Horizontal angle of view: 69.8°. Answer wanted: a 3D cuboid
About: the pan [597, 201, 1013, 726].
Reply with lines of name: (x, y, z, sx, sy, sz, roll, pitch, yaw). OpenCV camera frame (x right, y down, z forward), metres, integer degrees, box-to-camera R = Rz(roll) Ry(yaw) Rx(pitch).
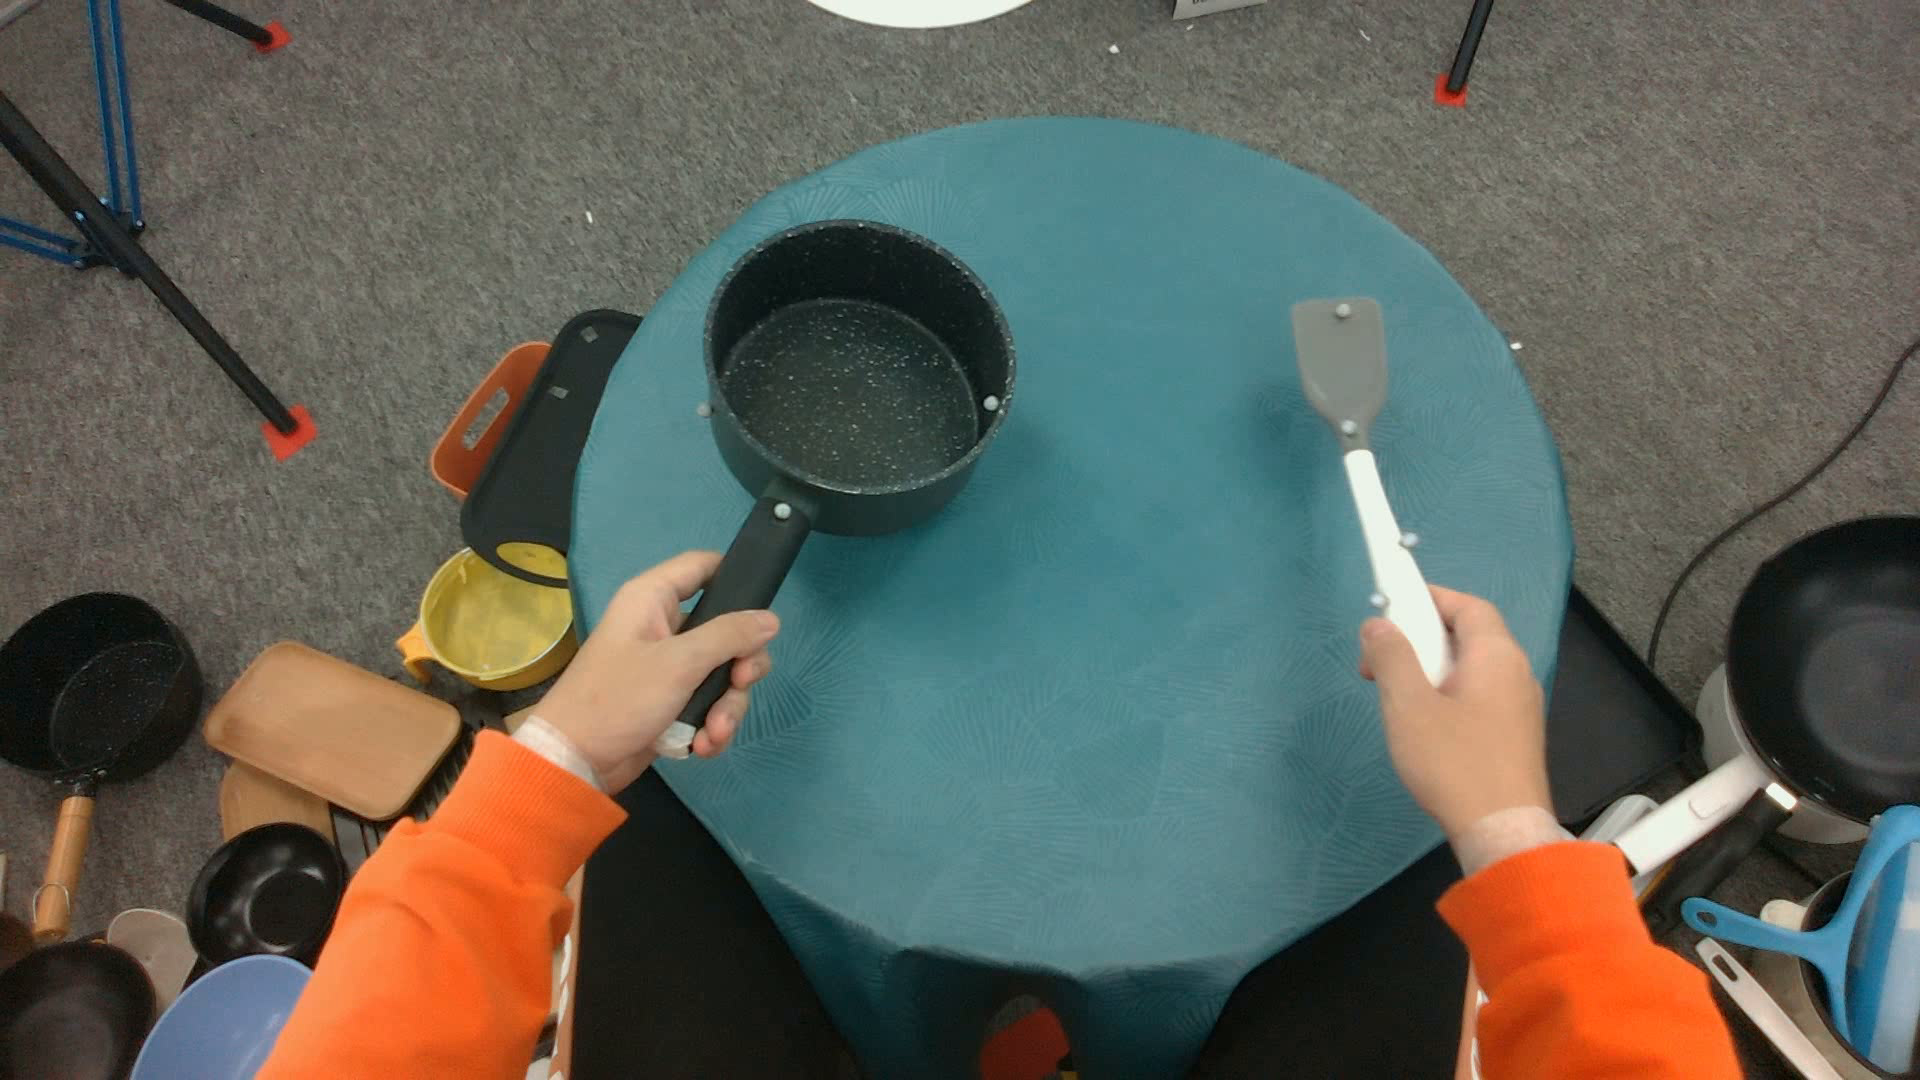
pan: (-0.092, -0.036, 0.742, 0.172, 0.086, 0.330, 26, 63, 2)

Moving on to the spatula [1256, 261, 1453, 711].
spatula: (0.211, -0.042, 0.745, 0.058, 0.032, 0.289, -7, 55, 3)
